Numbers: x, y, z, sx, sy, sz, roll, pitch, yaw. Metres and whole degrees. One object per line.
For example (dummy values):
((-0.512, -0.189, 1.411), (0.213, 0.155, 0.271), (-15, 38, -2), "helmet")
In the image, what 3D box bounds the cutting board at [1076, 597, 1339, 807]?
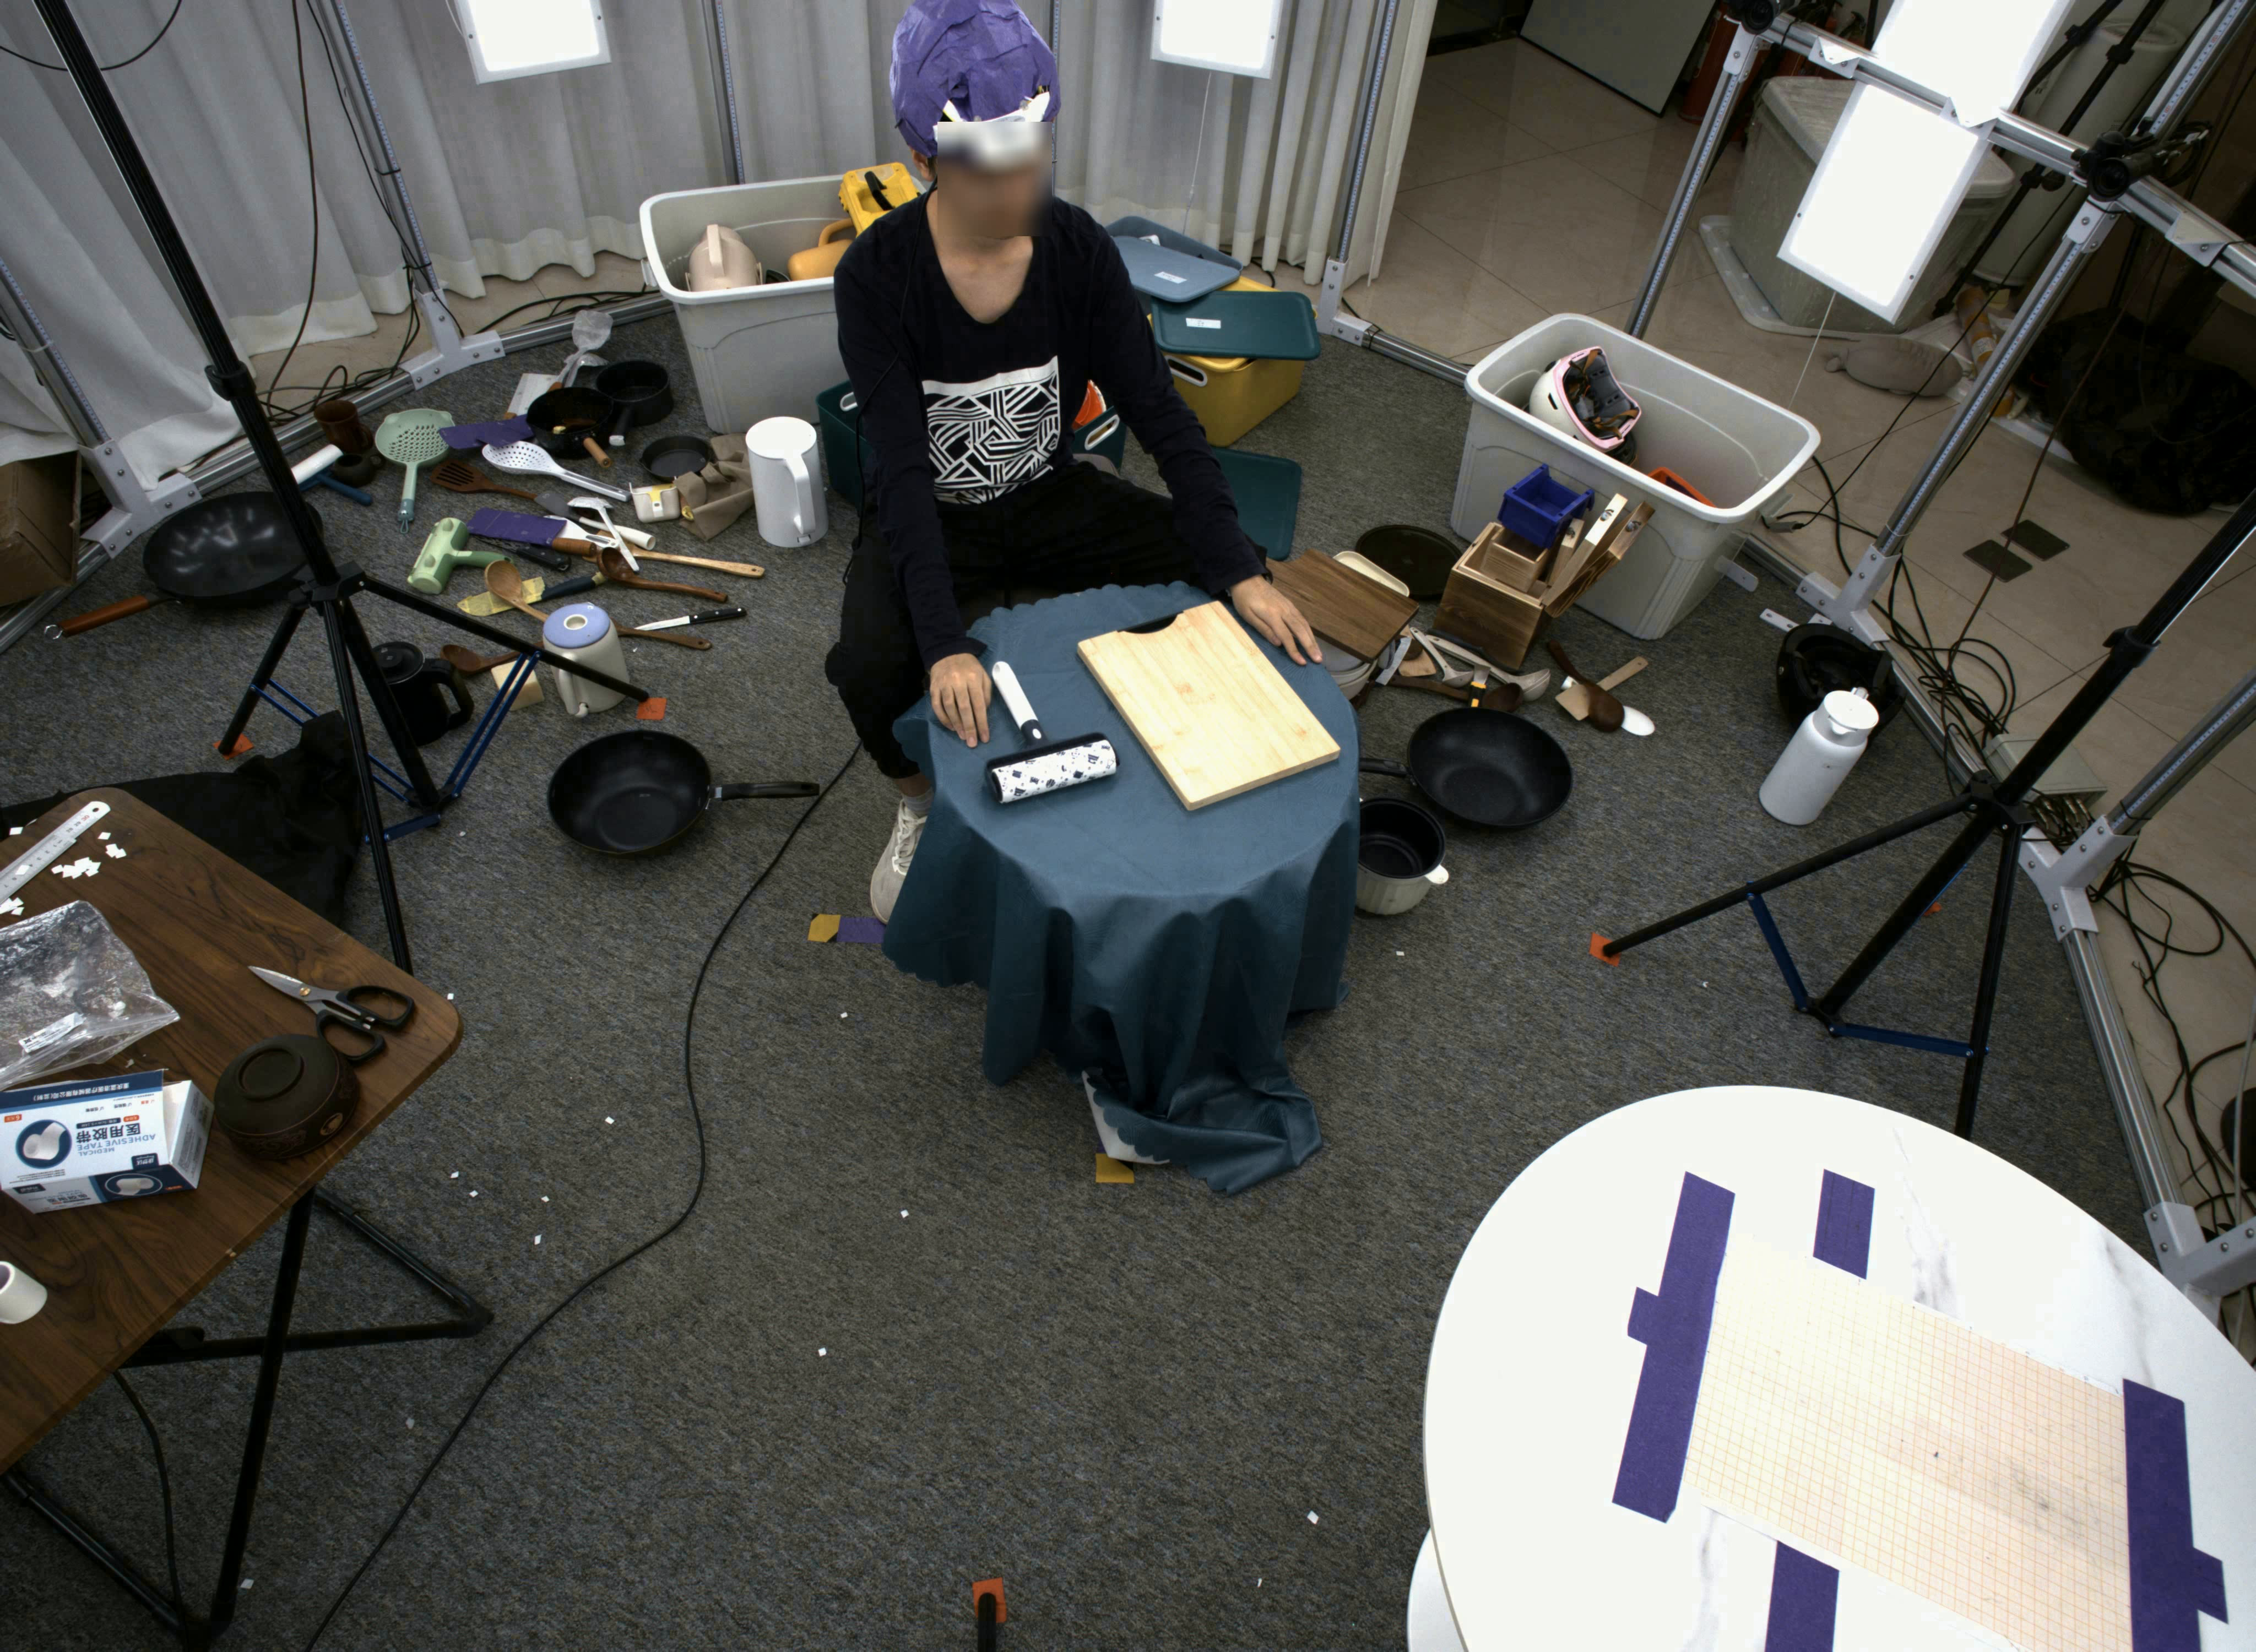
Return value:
((0.106, -0.184, 1.824), (0.251, 0.023, 0.356), (-19, 53, -20), "cutting board")

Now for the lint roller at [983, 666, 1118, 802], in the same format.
((-0.139, -0.144, 1.756), (0.176, 0.049, 0.253), (-17, 50, -16), "lint roller")
